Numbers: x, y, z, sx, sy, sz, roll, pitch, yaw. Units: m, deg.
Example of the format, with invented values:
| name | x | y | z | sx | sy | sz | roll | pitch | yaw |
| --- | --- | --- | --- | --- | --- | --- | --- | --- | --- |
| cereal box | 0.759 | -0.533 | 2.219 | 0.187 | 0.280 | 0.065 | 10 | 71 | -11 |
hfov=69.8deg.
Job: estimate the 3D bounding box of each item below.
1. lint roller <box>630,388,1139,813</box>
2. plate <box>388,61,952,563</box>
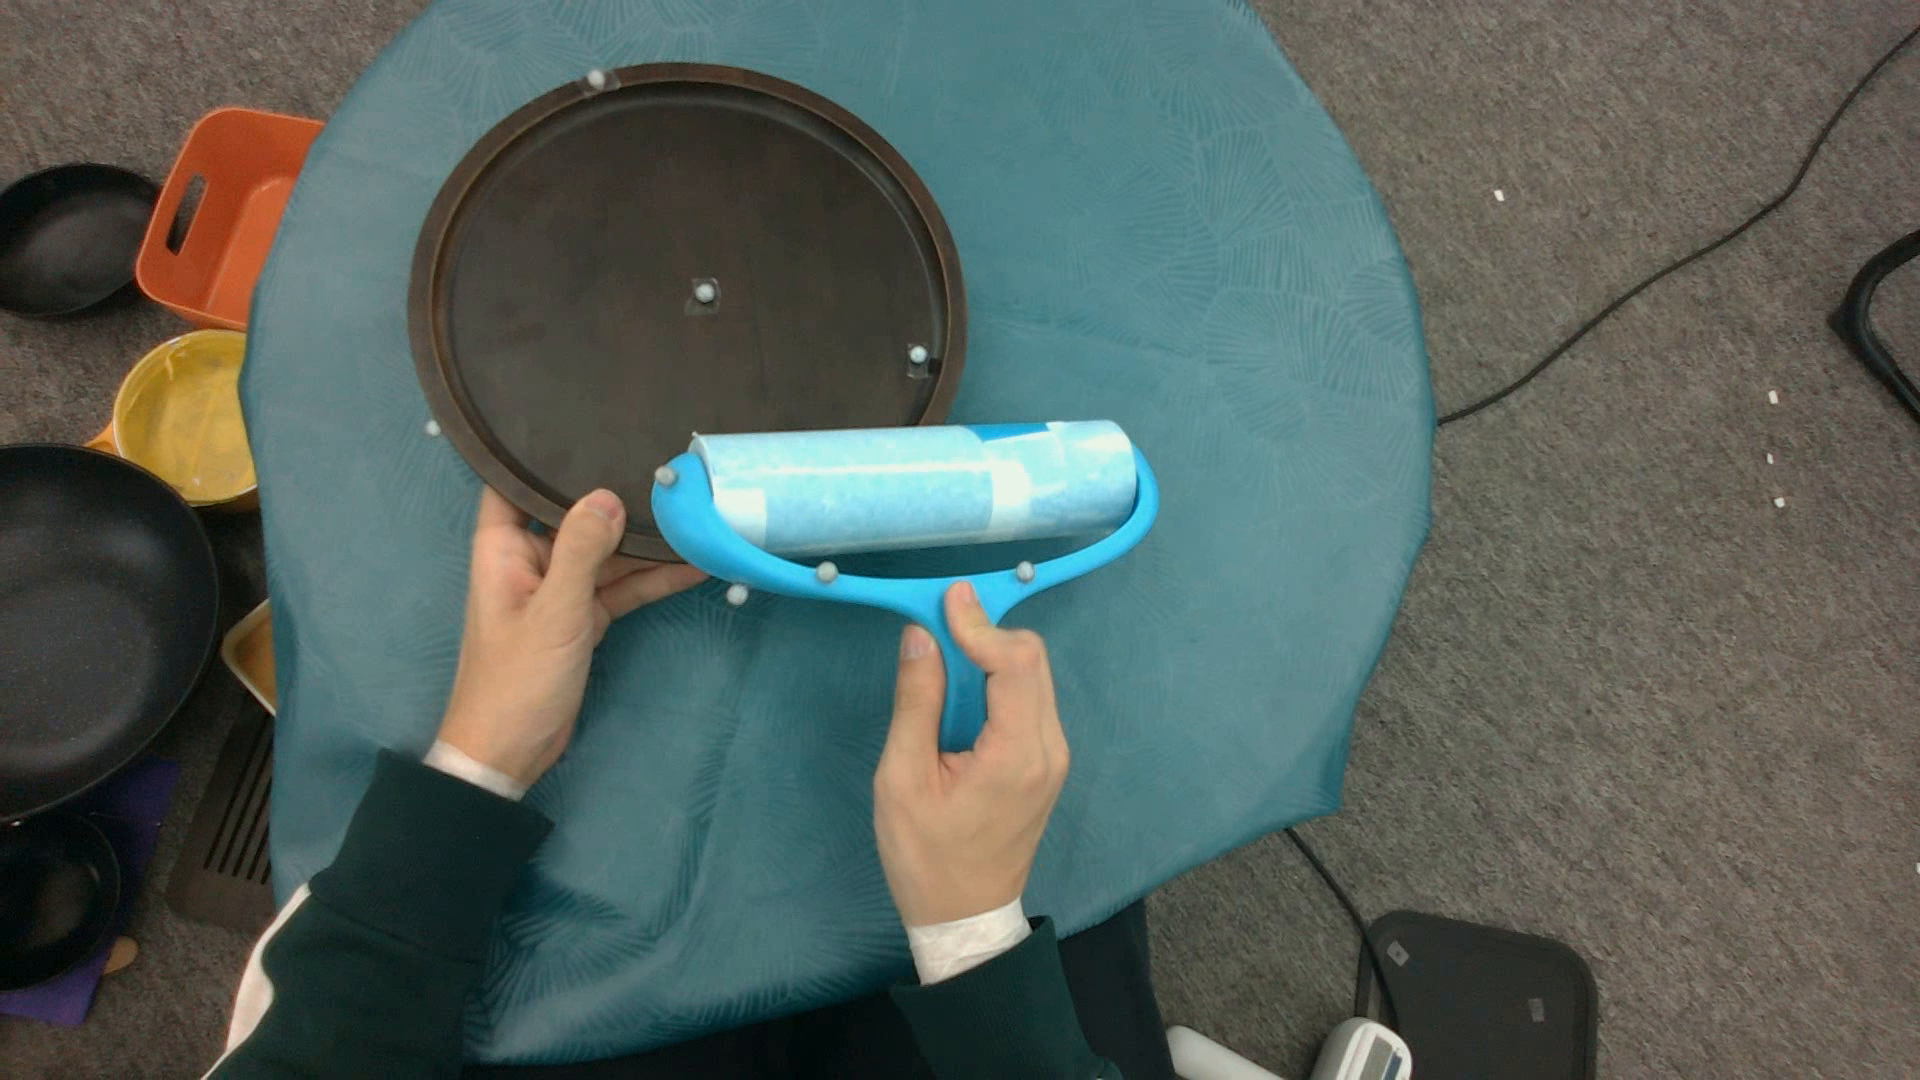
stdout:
| name | x | y | z | sx | sy | sz | roll | pitch | yaw |
| --- | --- | --- | --- | --- | --- | --- | --- | --- | --- |
| lint roller | -0.015 | 0.025 | 0.589 | 0.229 | 0.067 | 0.180 | -9 | 83 | -26 |
| plate | -0.132 | -0.110 | 0.642 | 0.255 | 0.029 | 0.255 | 3 | 72 | -8 |
